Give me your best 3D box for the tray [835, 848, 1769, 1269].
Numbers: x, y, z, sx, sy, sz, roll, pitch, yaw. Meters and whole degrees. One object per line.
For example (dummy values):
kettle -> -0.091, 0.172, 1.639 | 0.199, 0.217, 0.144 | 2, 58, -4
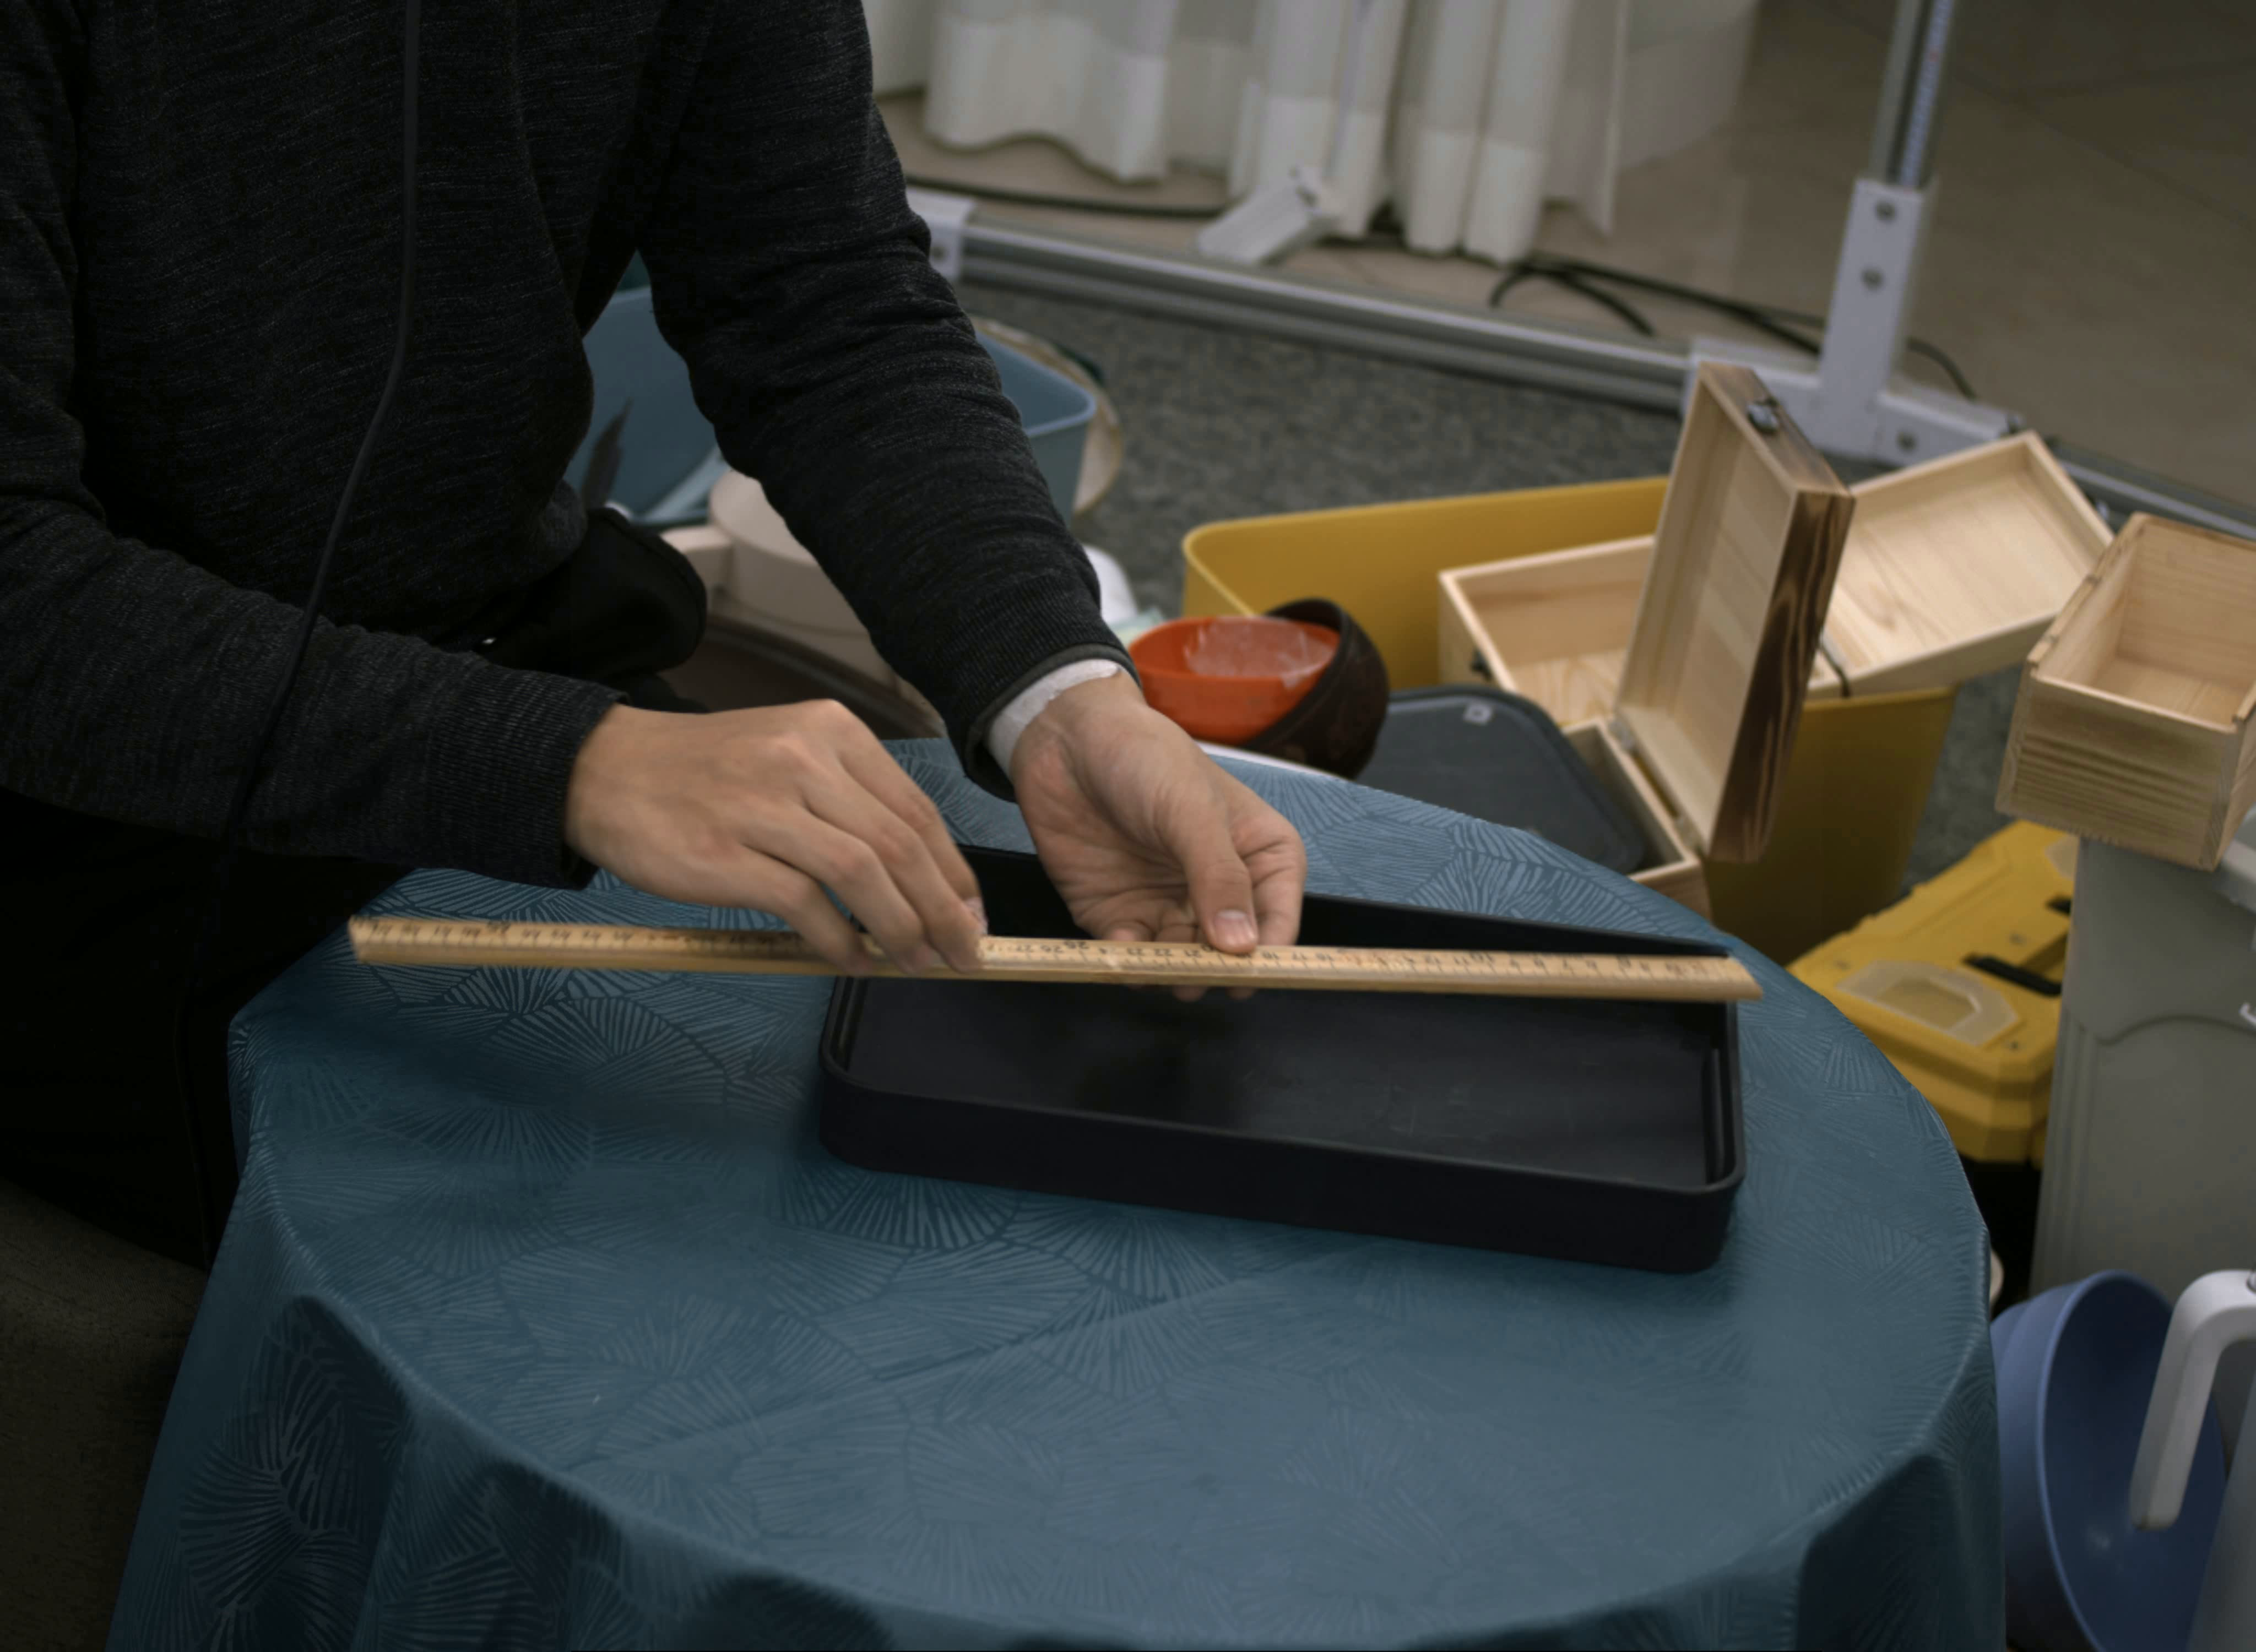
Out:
tray -> 0.061, 0.079, 1.863 | 0.317, 0.037, 0.185 | 6, 27, 1

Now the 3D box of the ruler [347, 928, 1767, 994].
ruler -> -0.016, 0.046, 1.804 | 0.497, 0.006, 0.027 | 2, 21, -17
